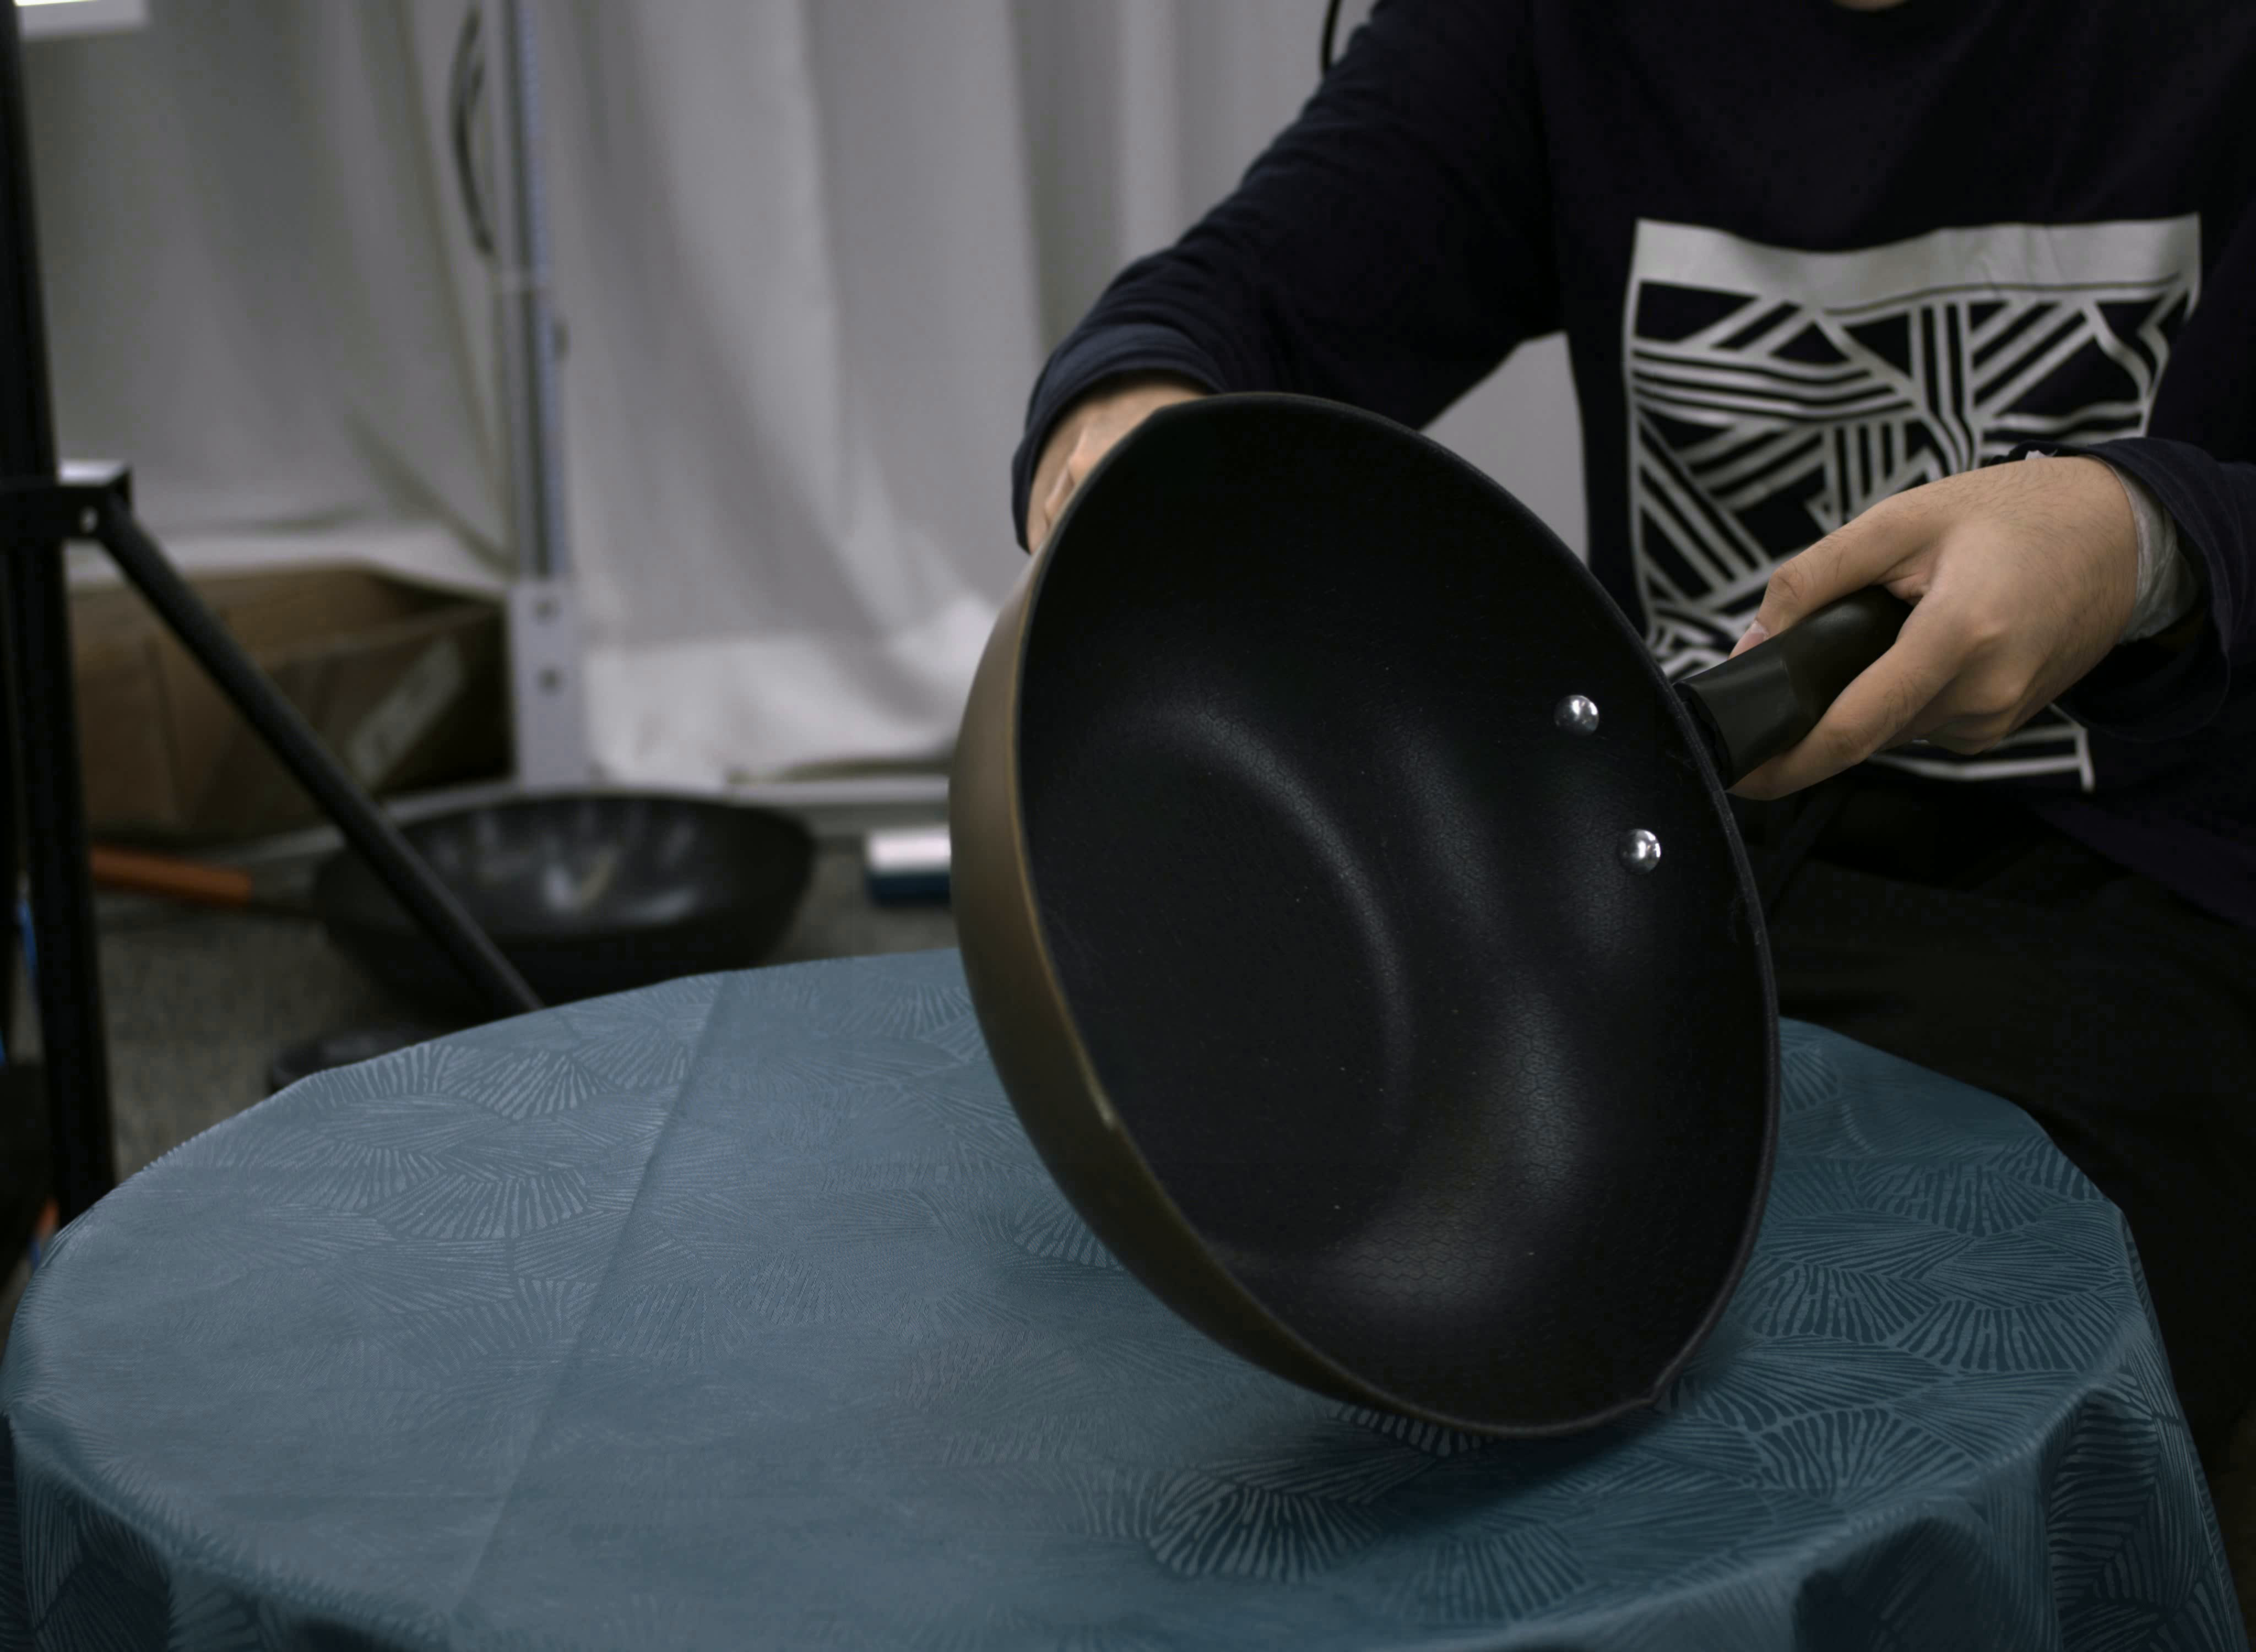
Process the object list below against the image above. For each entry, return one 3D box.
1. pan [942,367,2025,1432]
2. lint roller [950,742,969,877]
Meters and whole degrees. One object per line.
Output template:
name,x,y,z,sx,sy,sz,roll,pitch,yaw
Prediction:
pan,0.102,0.001,1.451,0.088,0.289,0.454,-26,-1,43
lint roller,0.020,-0.052,1.636,0.174,0.050,0.250,-8,27,-6
